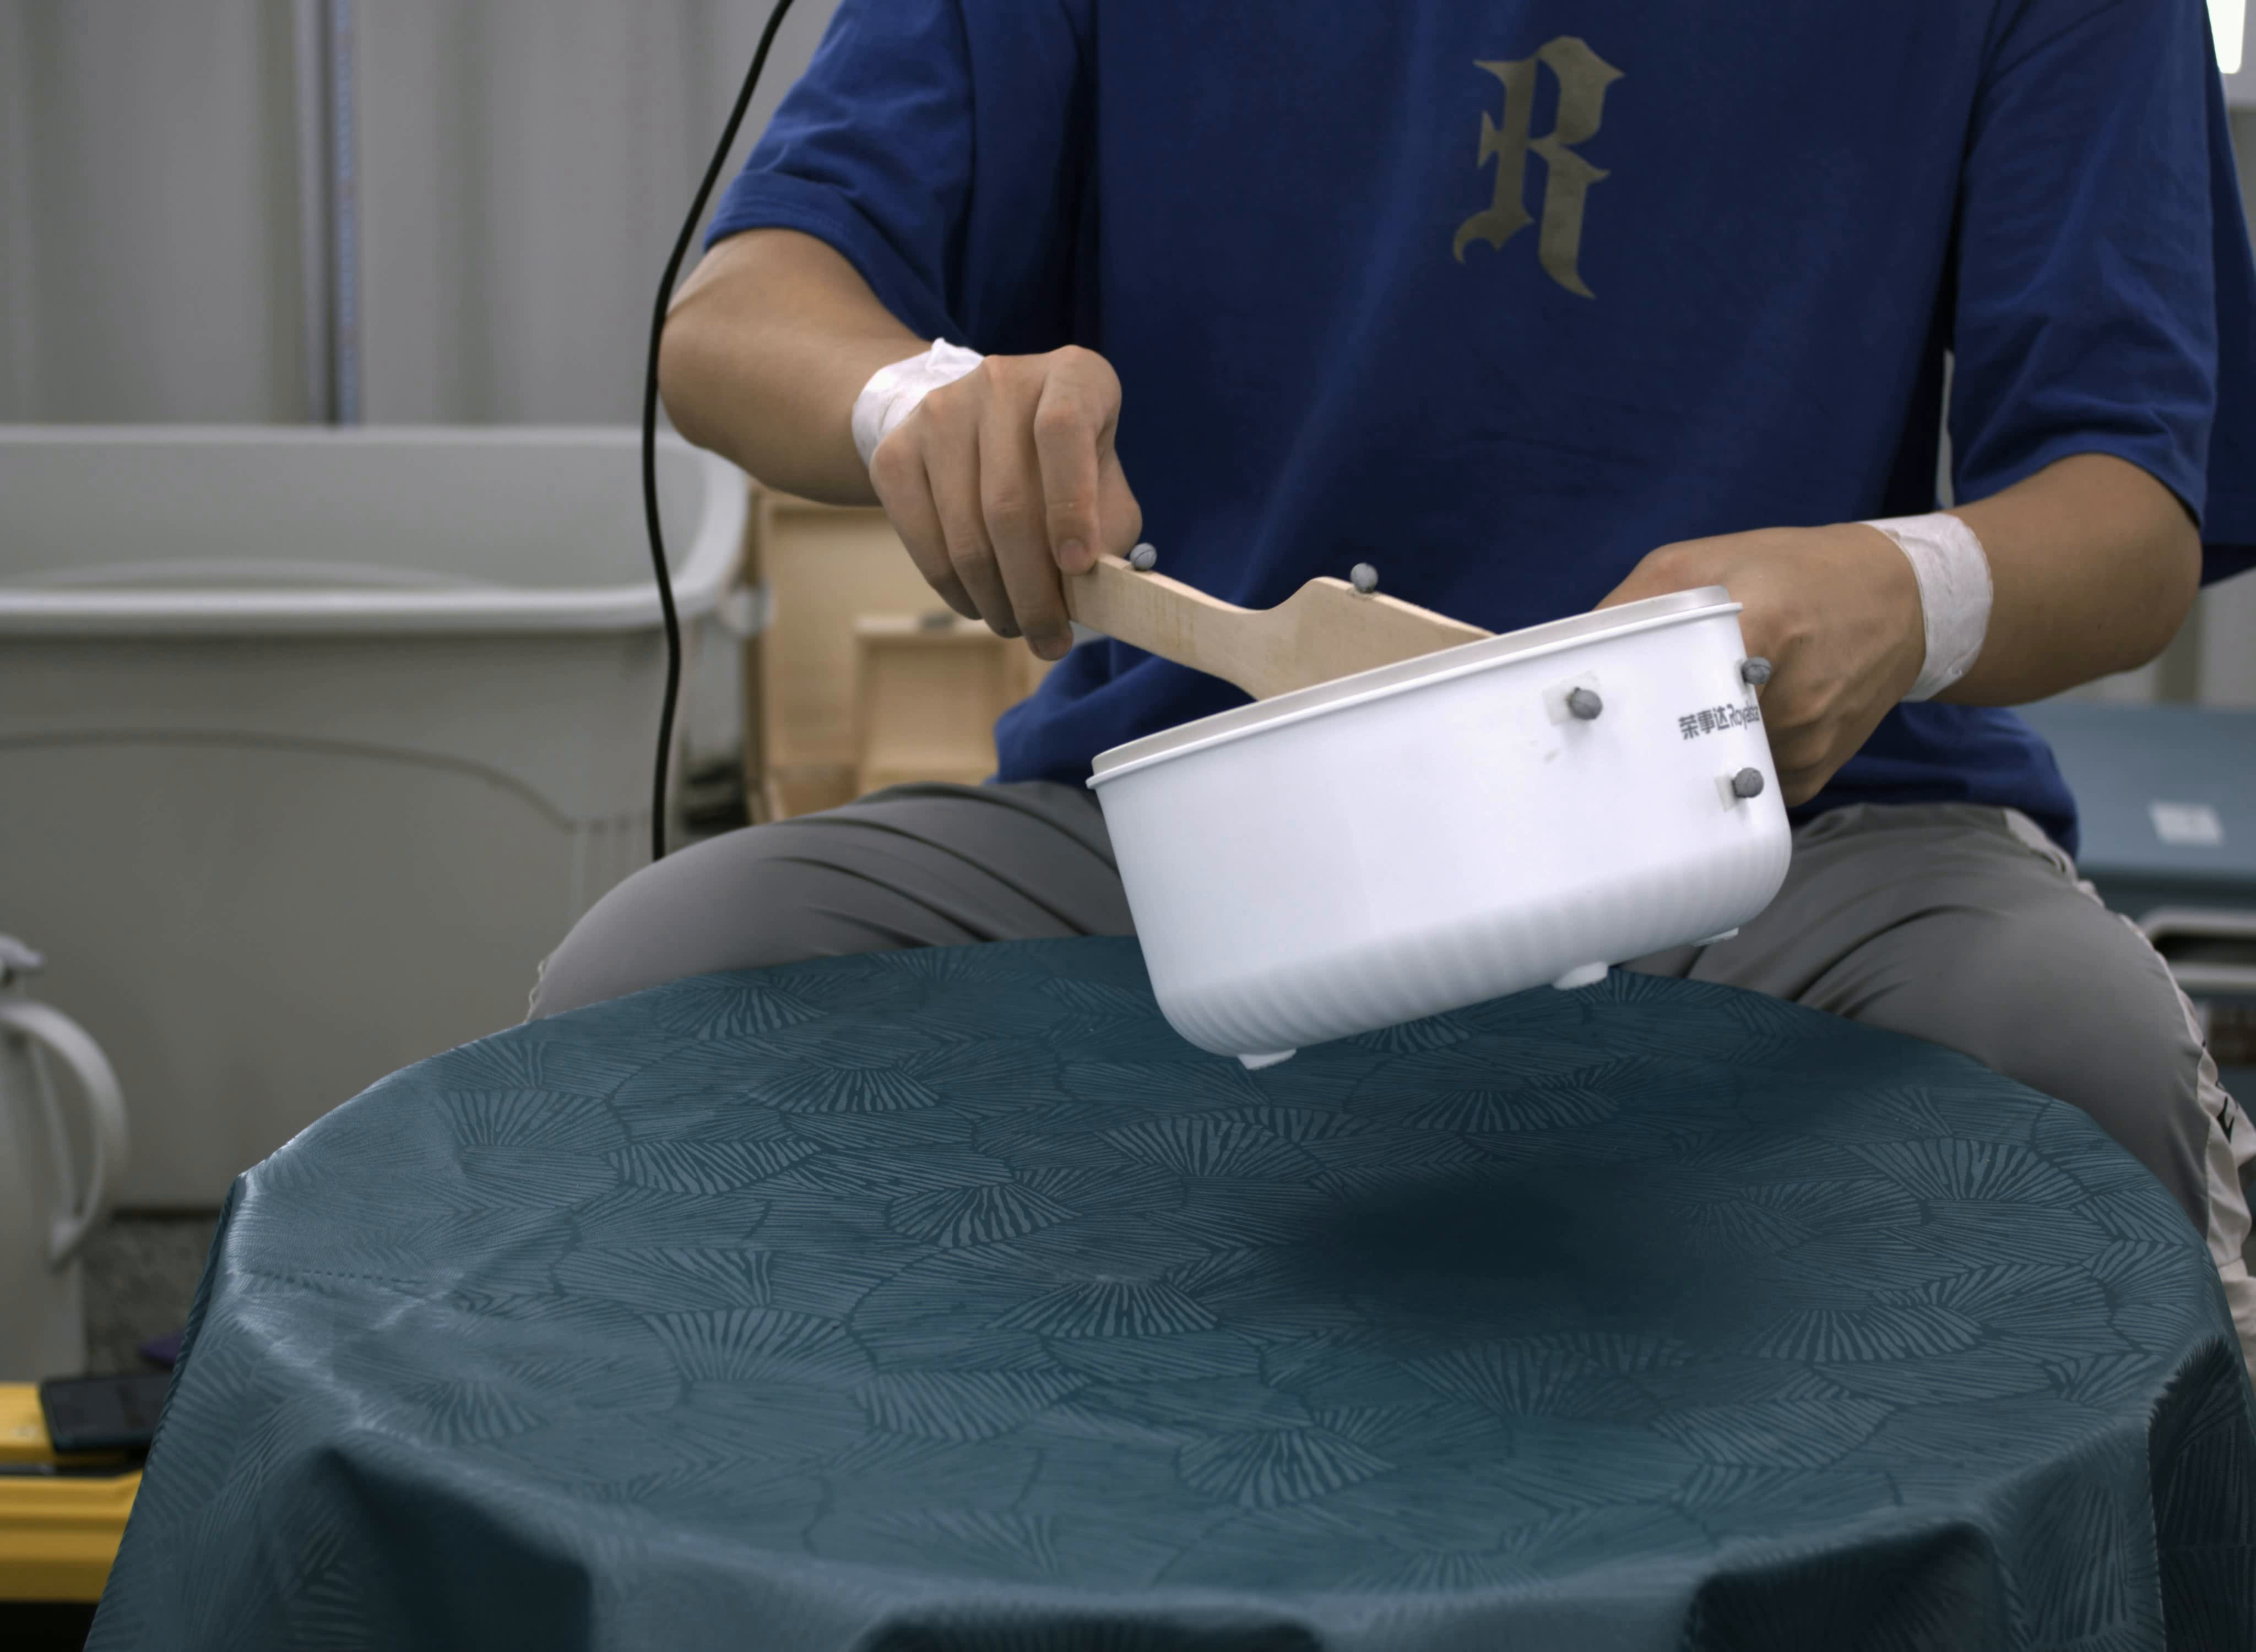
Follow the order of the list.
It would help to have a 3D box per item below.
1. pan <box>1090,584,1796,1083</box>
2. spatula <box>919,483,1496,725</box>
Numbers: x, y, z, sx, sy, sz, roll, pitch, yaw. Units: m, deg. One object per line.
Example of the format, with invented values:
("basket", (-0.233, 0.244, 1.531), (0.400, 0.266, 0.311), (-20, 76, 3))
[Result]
("pan", (0.132, -0.002, 1.622), (0.200, 0.102, 0.356), (-18, -3, 27))
("spatula", (0.019, -0.065, 1.667), (0.011, 0.073, 0.289), (-21, 29, -33))
